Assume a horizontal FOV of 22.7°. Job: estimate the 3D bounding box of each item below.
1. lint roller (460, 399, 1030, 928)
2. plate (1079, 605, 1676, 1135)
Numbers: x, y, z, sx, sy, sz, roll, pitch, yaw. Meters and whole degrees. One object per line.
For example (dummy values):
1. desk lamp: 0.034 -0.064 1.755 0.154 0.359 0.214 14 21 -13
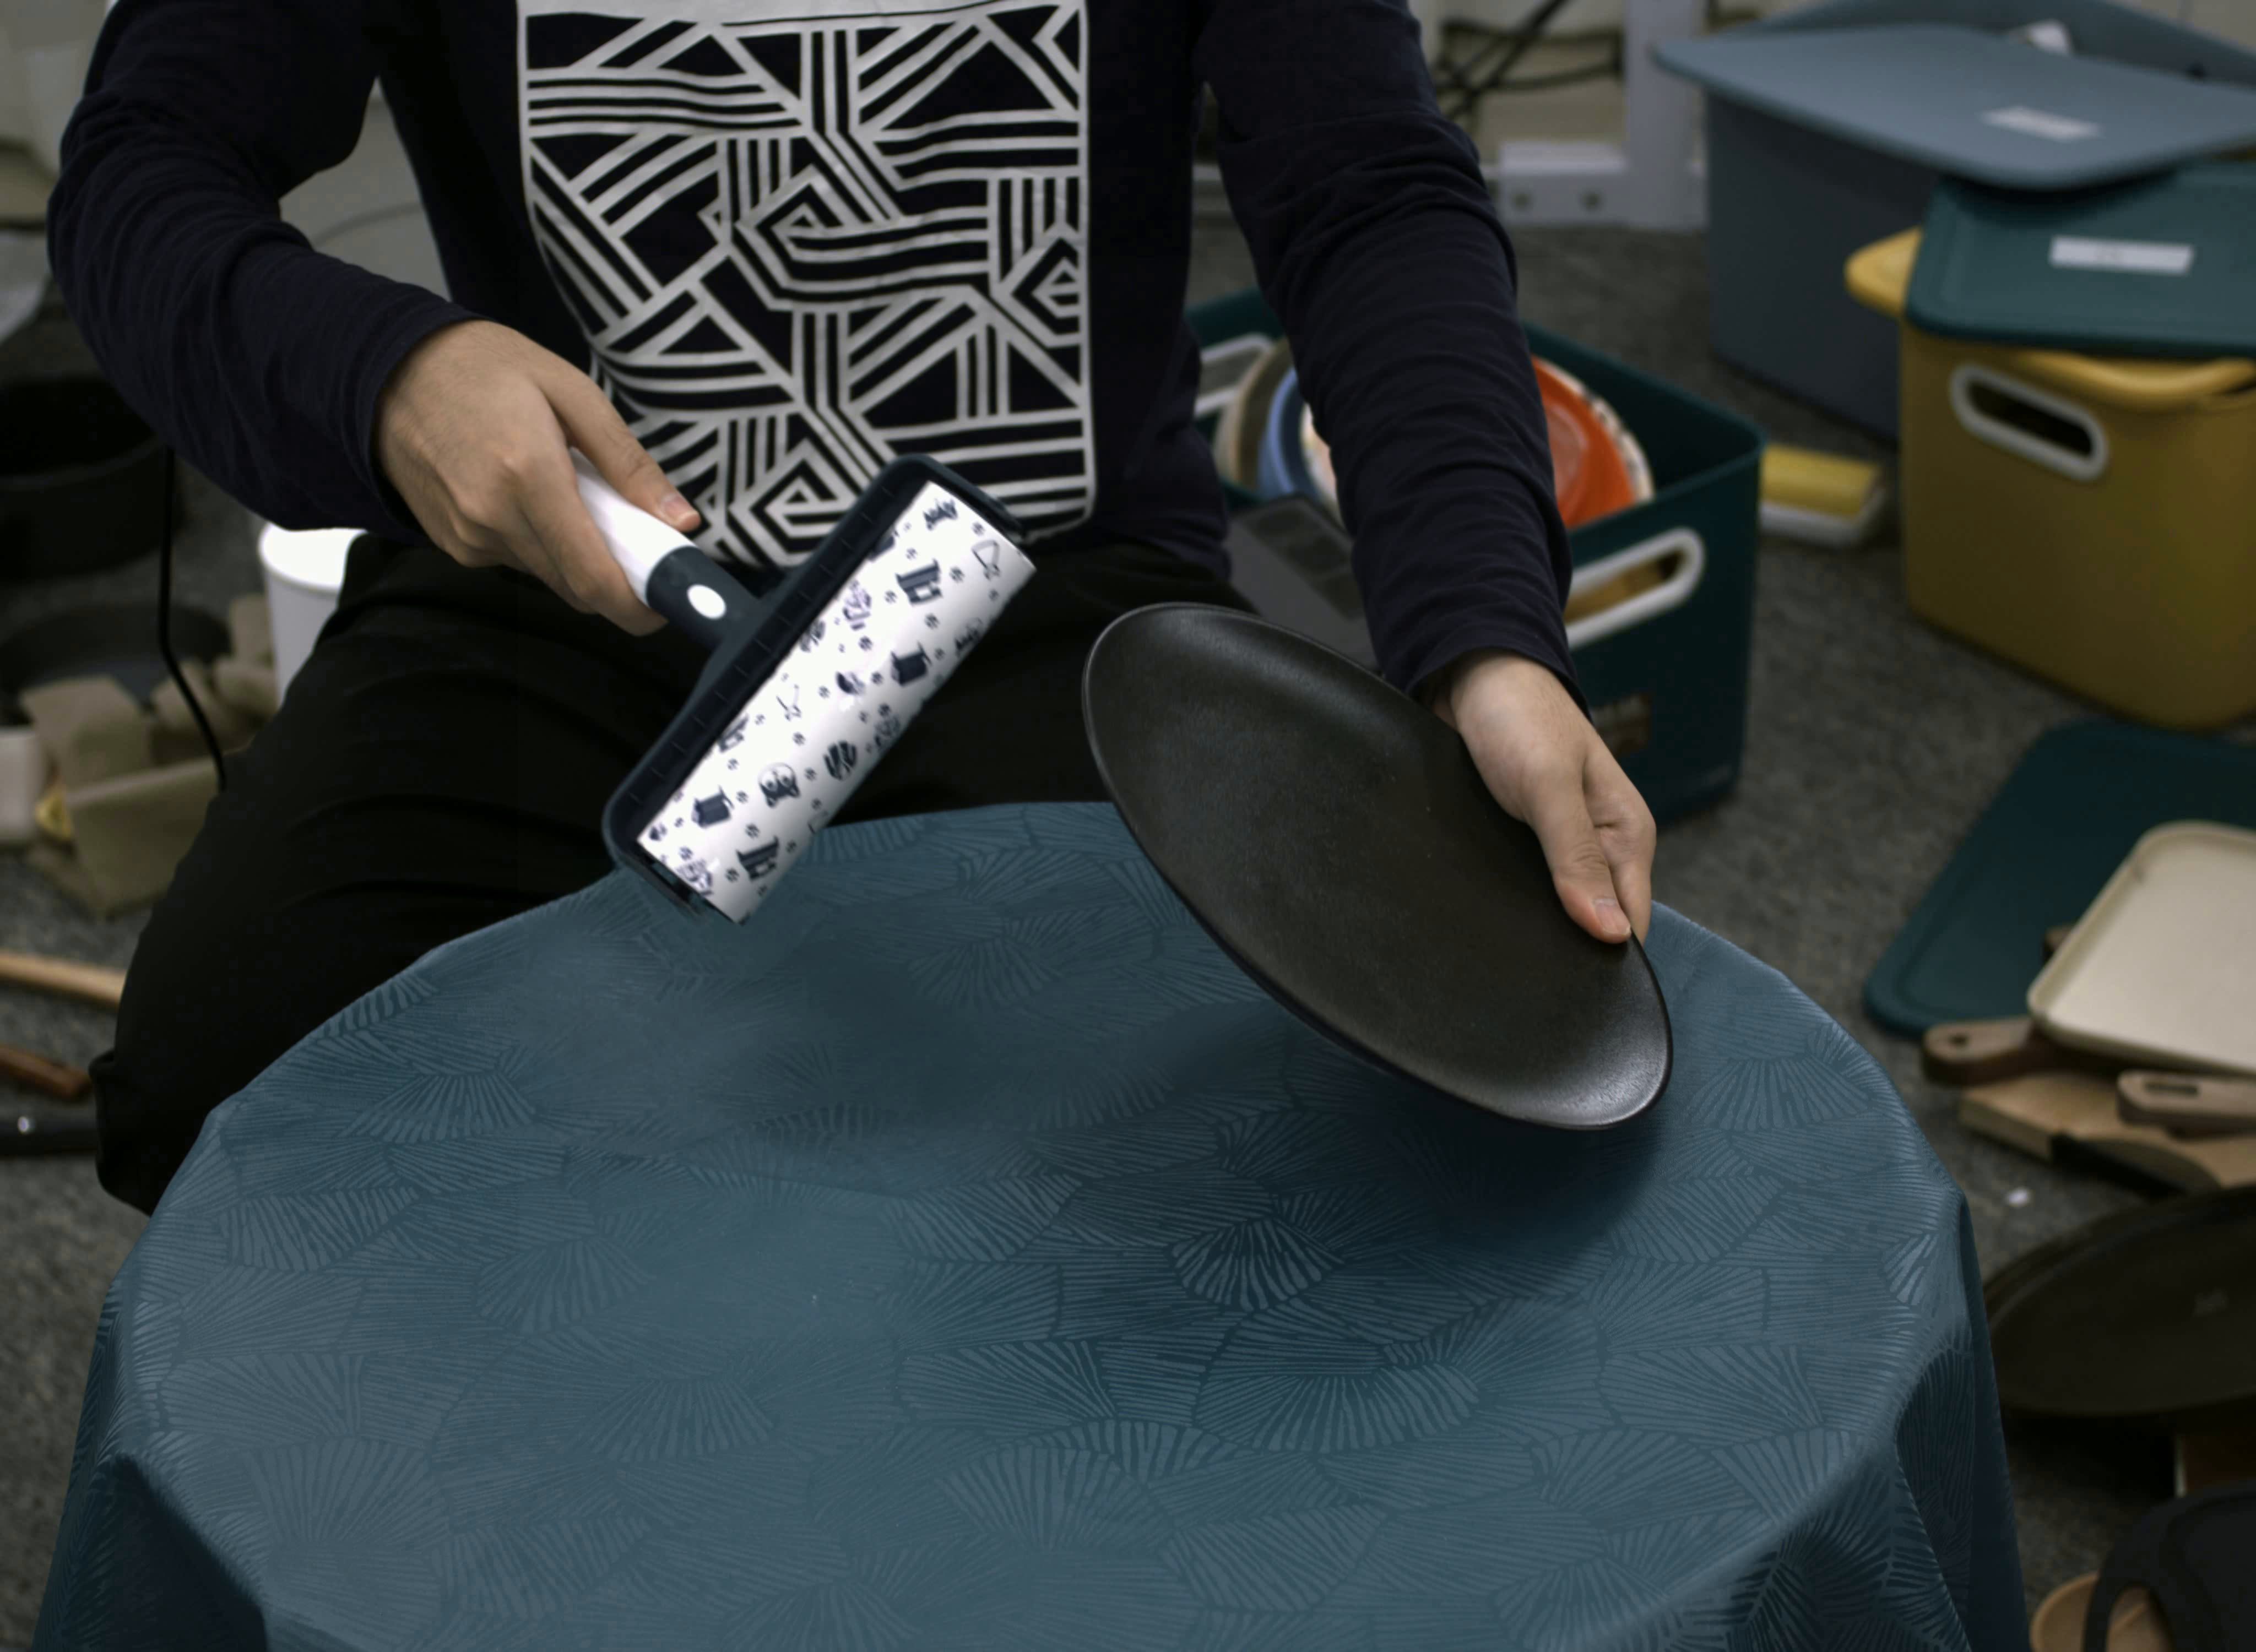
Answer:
1. lint roller: -0.165 -0.090 1.979 0.248 0.050 0.177 36 85 36
2. plate: 0.080 0.018 1.880 0.243 0.023 0.248 30 28 -17
